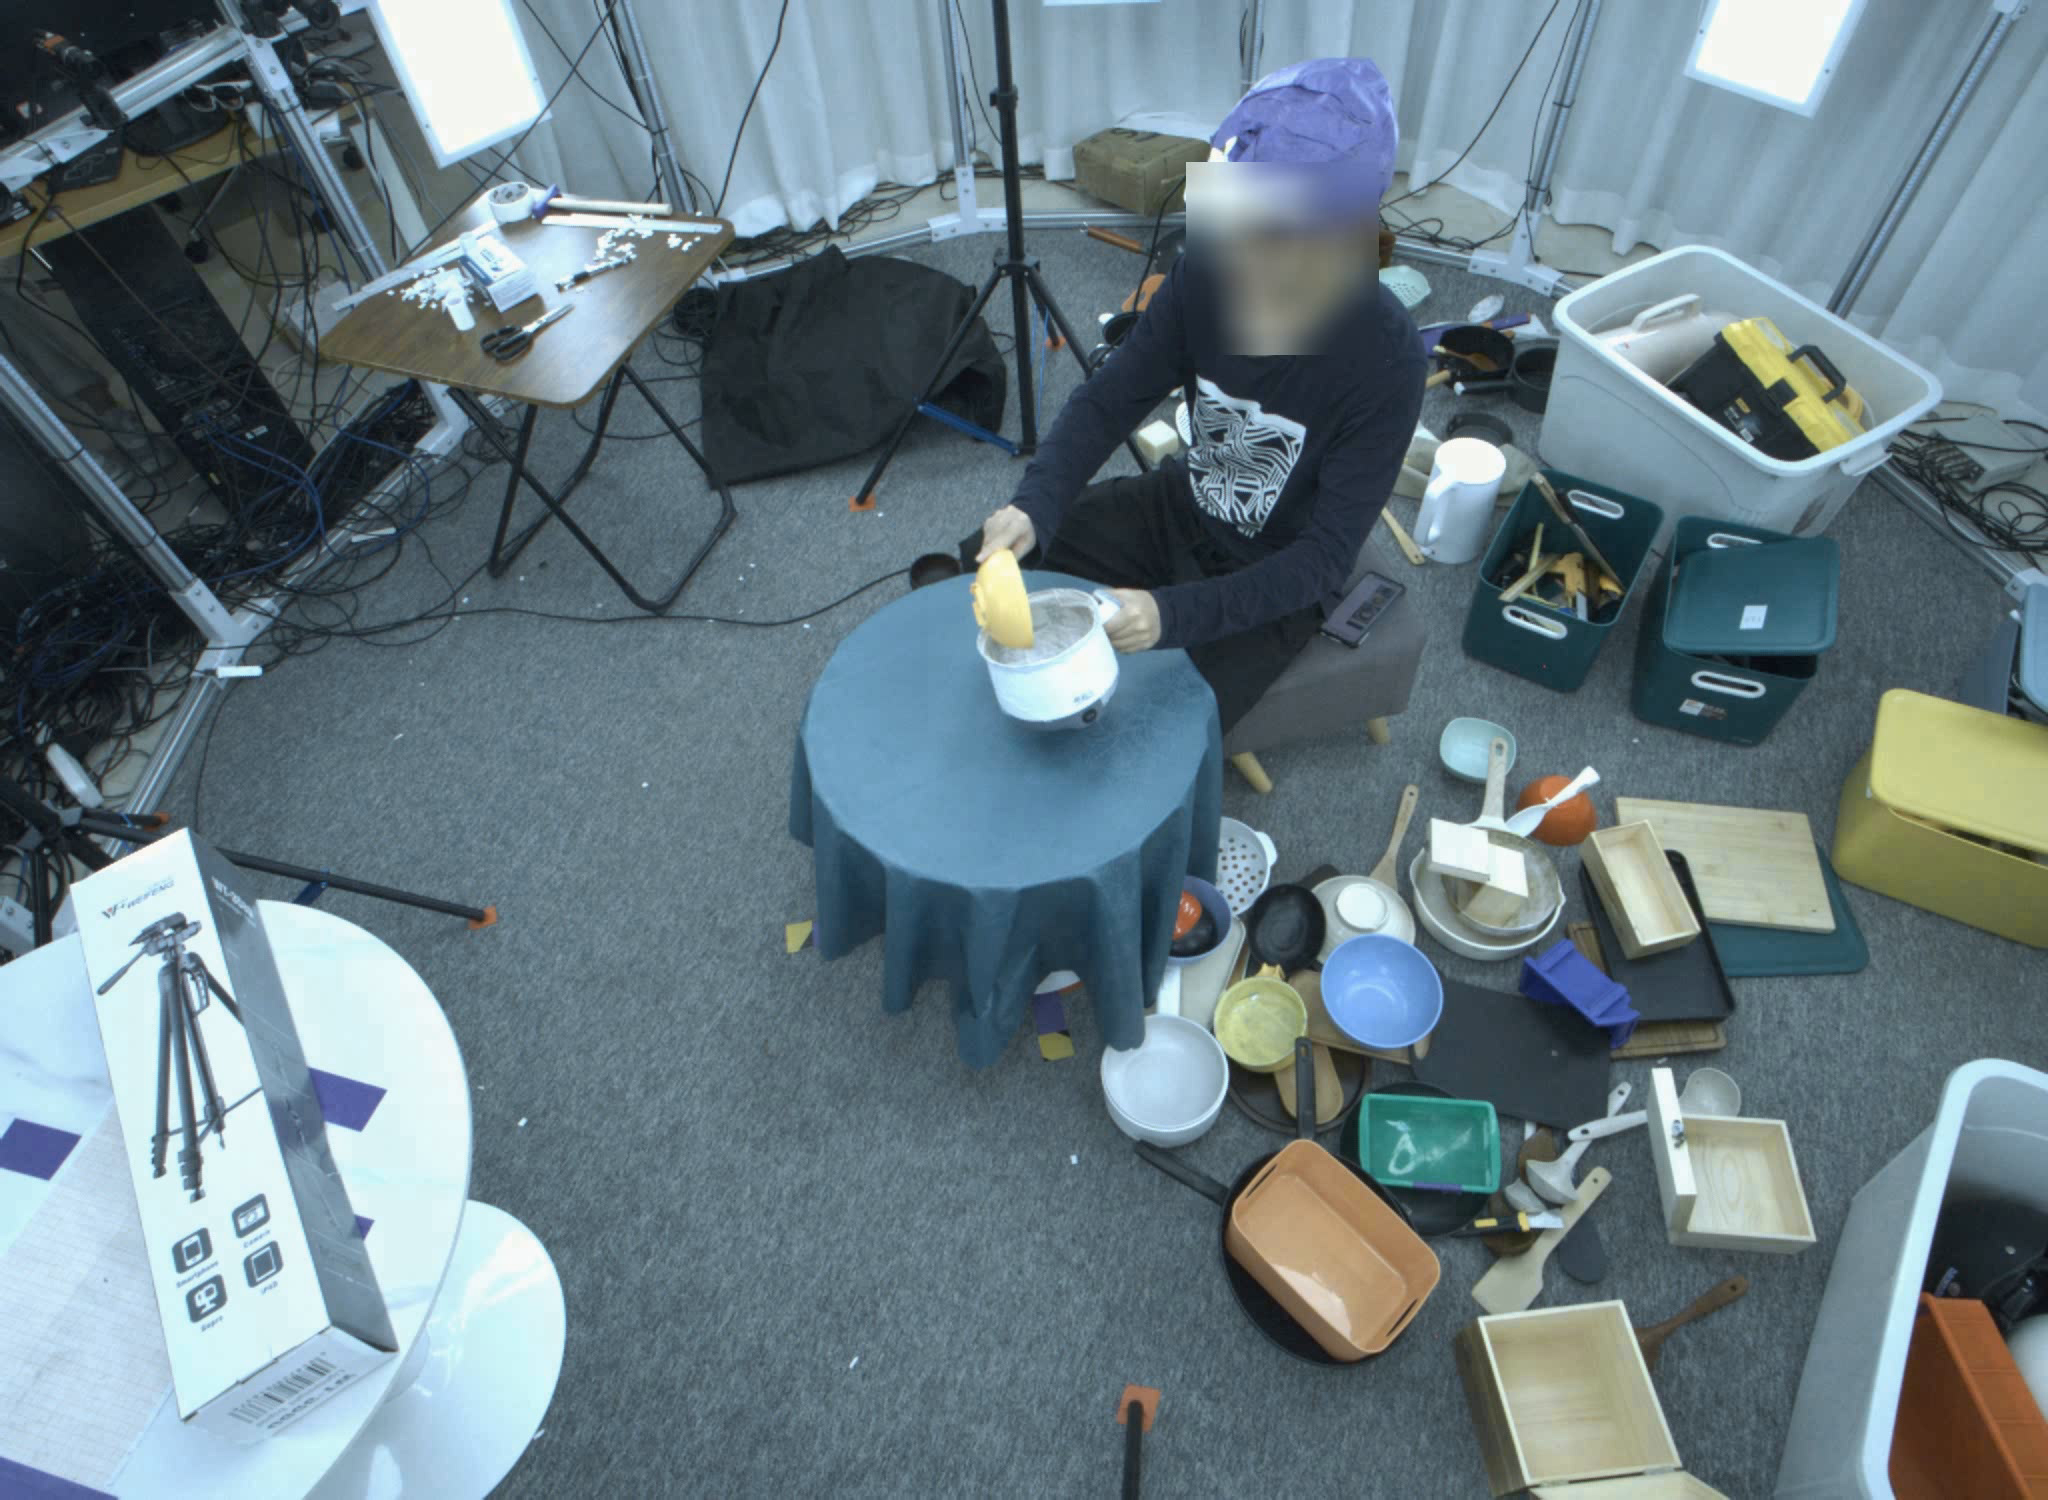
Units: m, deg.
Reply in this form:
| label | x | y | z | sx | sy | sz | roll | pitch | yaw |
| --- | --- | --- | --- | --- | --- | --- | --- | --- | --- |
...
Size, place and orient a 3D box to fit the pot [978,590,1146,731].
| label | x | y | z | sx | sy | sz | roll | pitch | yaw |
| --- | --- | --- | --- | --- | --- | --- | --- | --- | --- |
| pot | 0.062 | -0.136 | 1.747 | 0.235 | 0.139 | 0.174 | -30 | 40 | -14 |

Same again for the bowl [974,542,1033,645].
| label | x | y | z | sx | sy | sz | roll | pitch | yaw |
| --- | --- | --- | --- | --- | --- | --- | --- | --- | --- |
| bowl | -0.033 | -0.207 | 1.676 | 0.060 | 0.147 | 0.143 | -15 | 55 | -3 |
